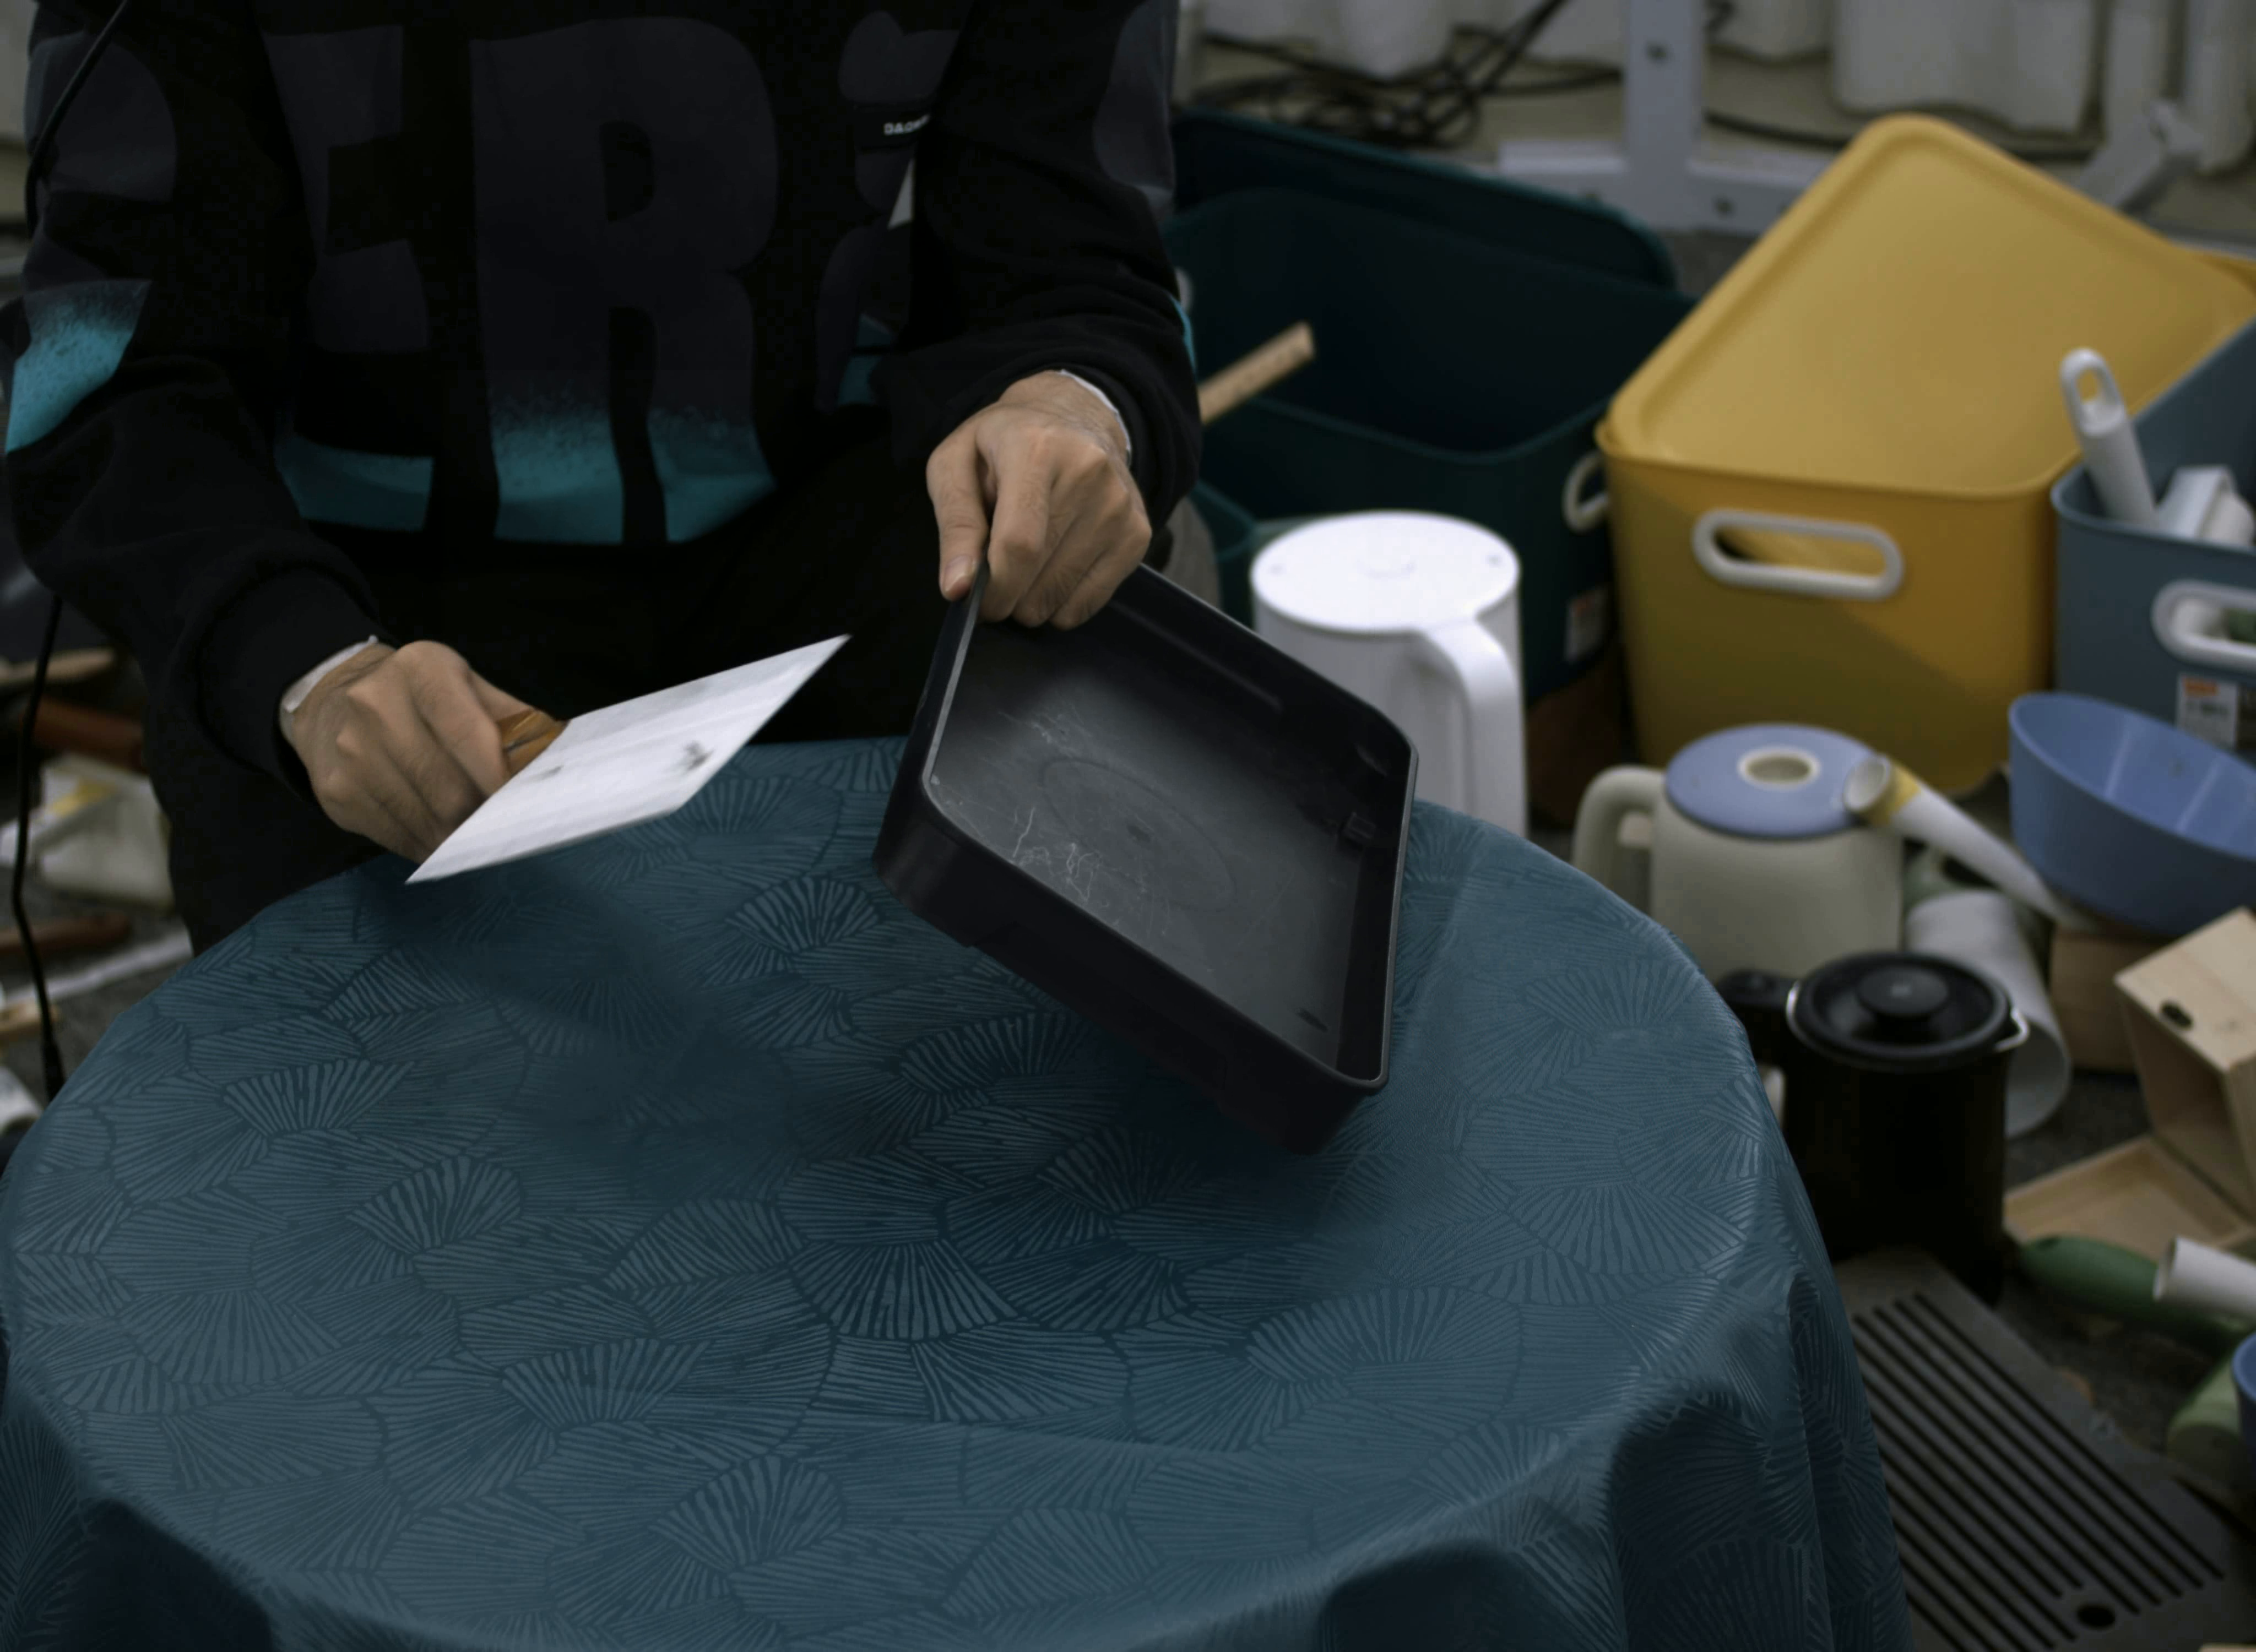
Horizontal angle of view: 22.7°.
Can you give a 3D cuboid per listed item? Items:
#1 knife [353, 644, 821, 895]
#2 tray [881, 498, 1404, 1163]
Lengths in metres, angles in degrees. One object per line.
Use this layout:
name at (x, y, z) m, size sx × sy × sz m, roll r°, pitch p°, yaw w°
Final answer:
knife at (-0.204, -0.012, 1.921) m, size 0.094 × 0.021 × 0.302 m, roll -48°, pitch 19°, yaw -29°
tray at (0.010, -0.005, 1.935) m, size 0.183 × 0.036 × 0.322 m, roll 32°, pitch 20°, yaw -10°
